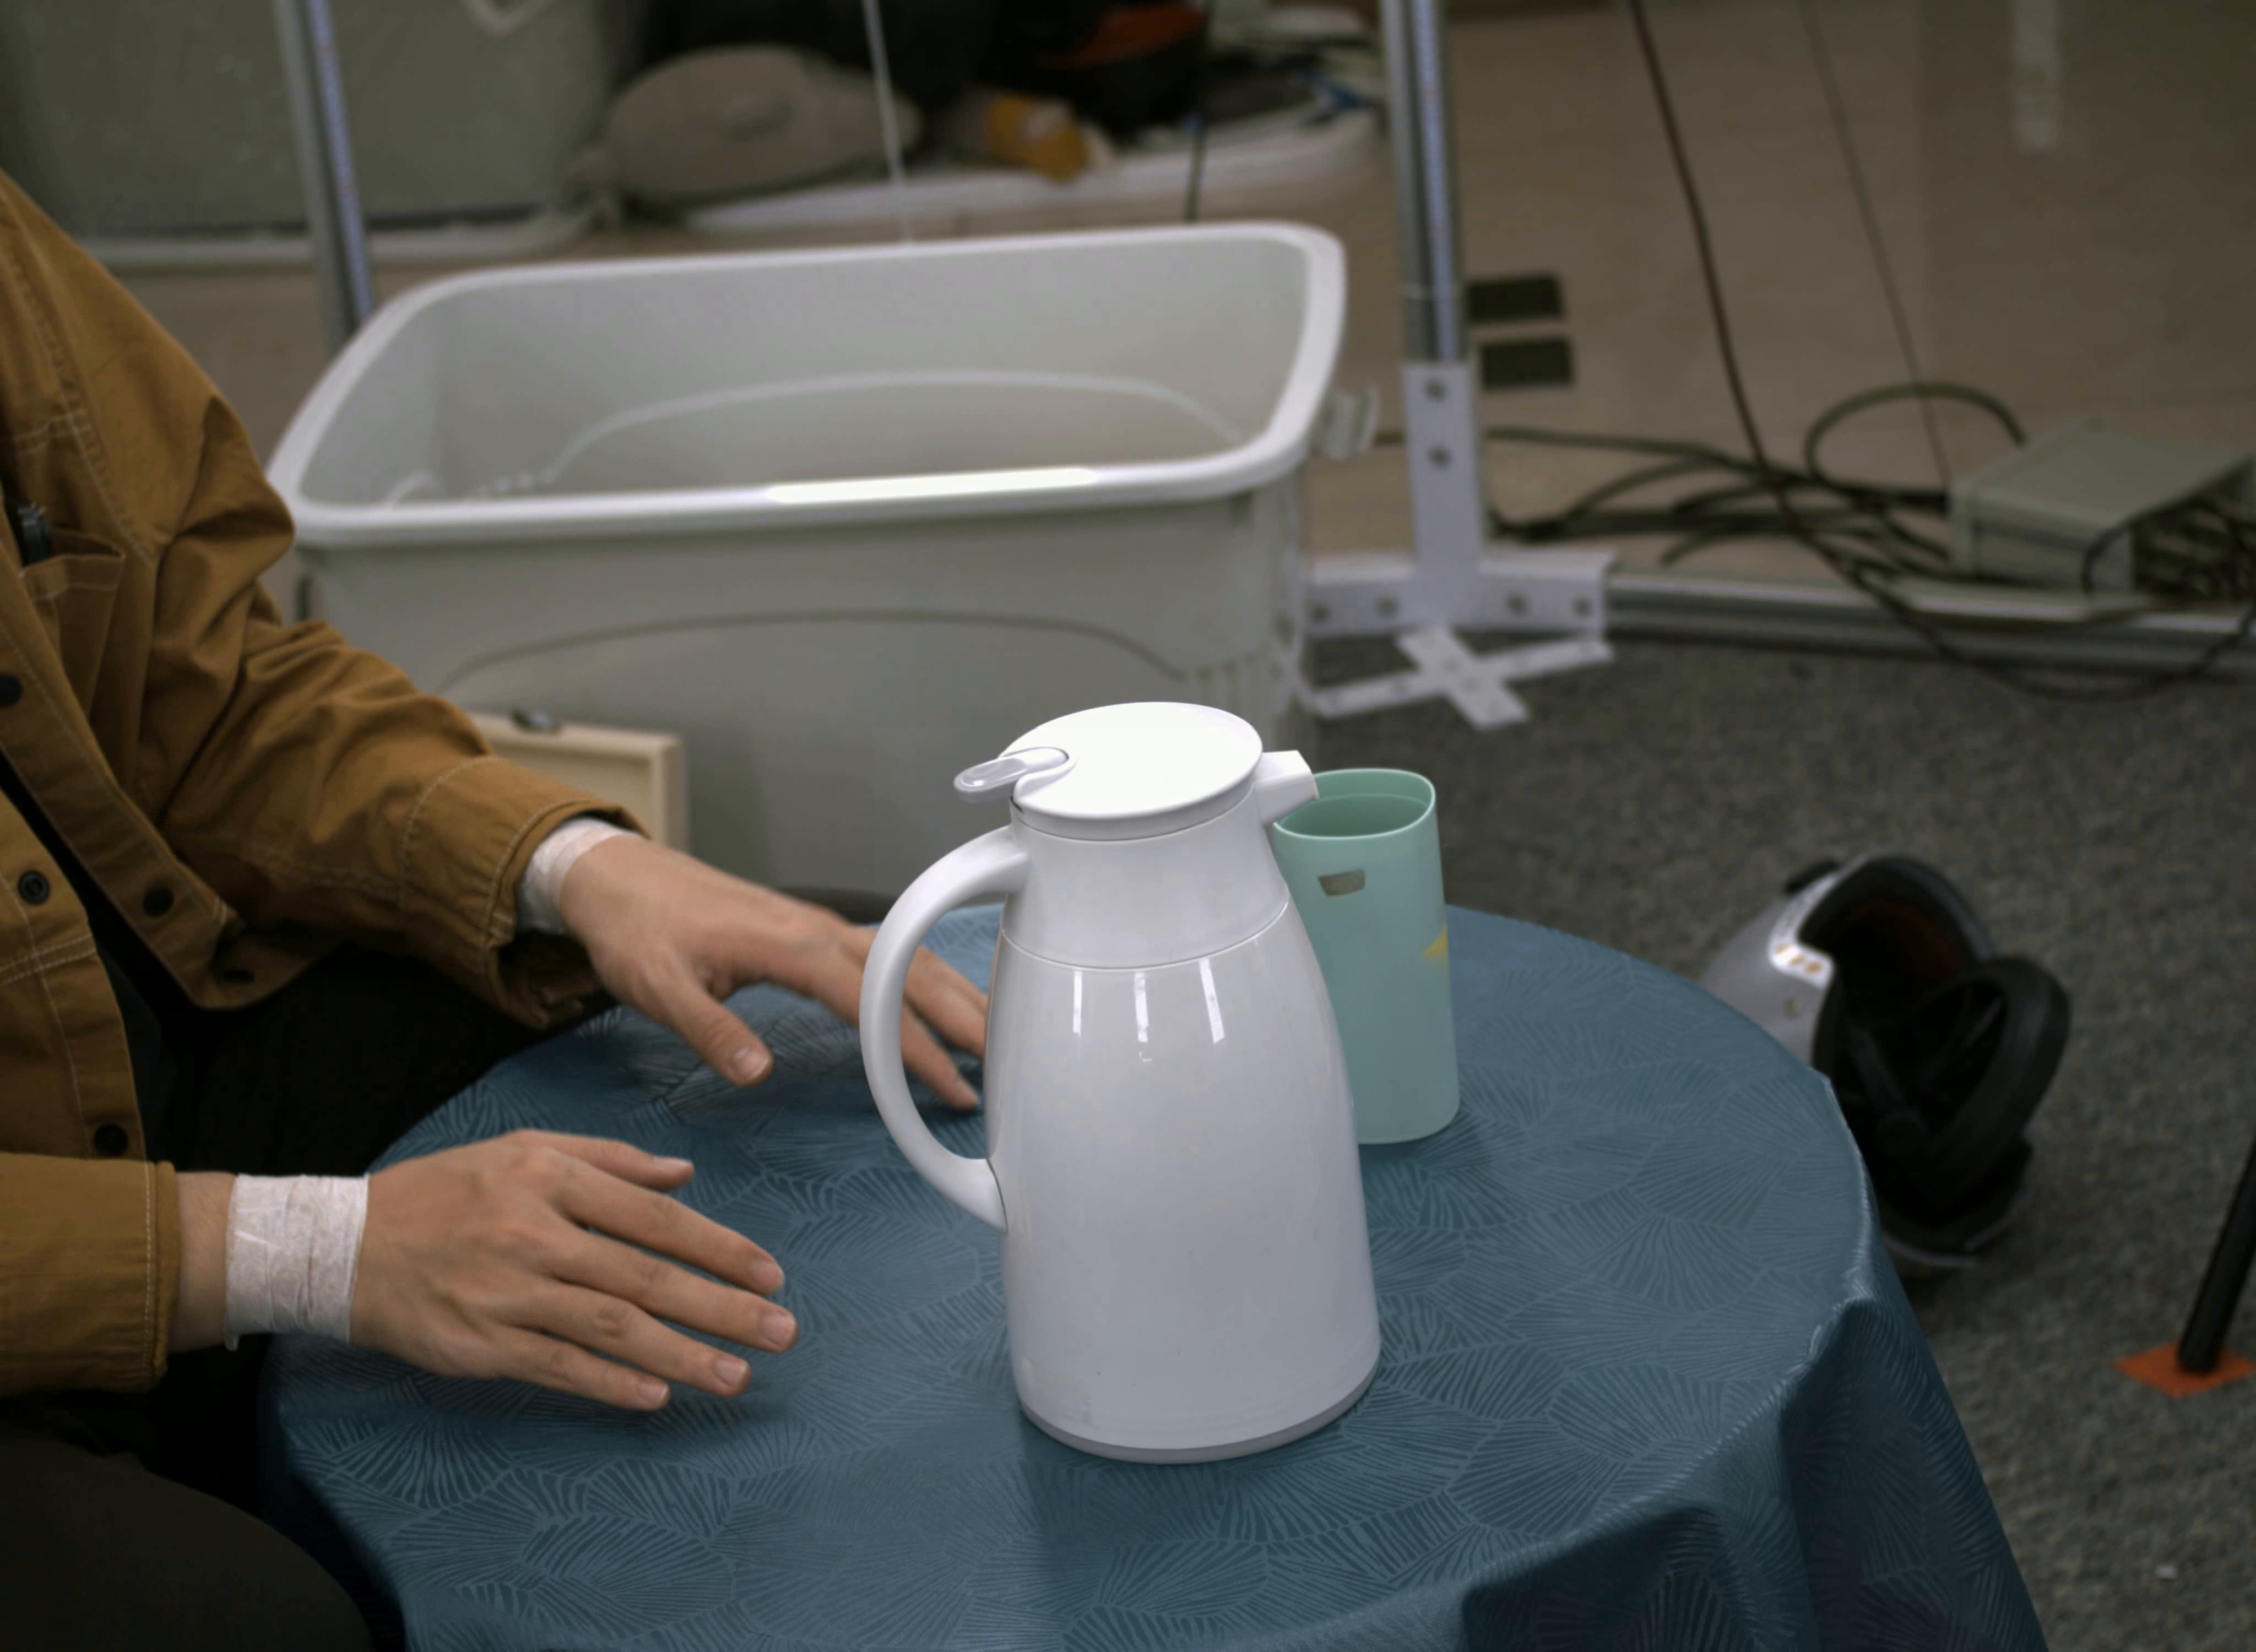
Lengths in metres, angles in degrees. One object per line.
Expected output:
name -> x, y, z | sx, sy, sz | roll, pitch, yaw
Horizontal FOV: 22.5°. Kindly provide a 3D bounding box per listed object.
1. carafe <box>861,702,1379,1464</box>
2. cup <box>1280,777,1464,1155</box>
carafe -> -0.006, 0.087, 1.967 | 0.167, 0.252, 0.130 | -12, 27, -10
cup -> 0.092, 0.053, 2.163 | 0.066, 0.134, 0.066 | -5, 26, 2
